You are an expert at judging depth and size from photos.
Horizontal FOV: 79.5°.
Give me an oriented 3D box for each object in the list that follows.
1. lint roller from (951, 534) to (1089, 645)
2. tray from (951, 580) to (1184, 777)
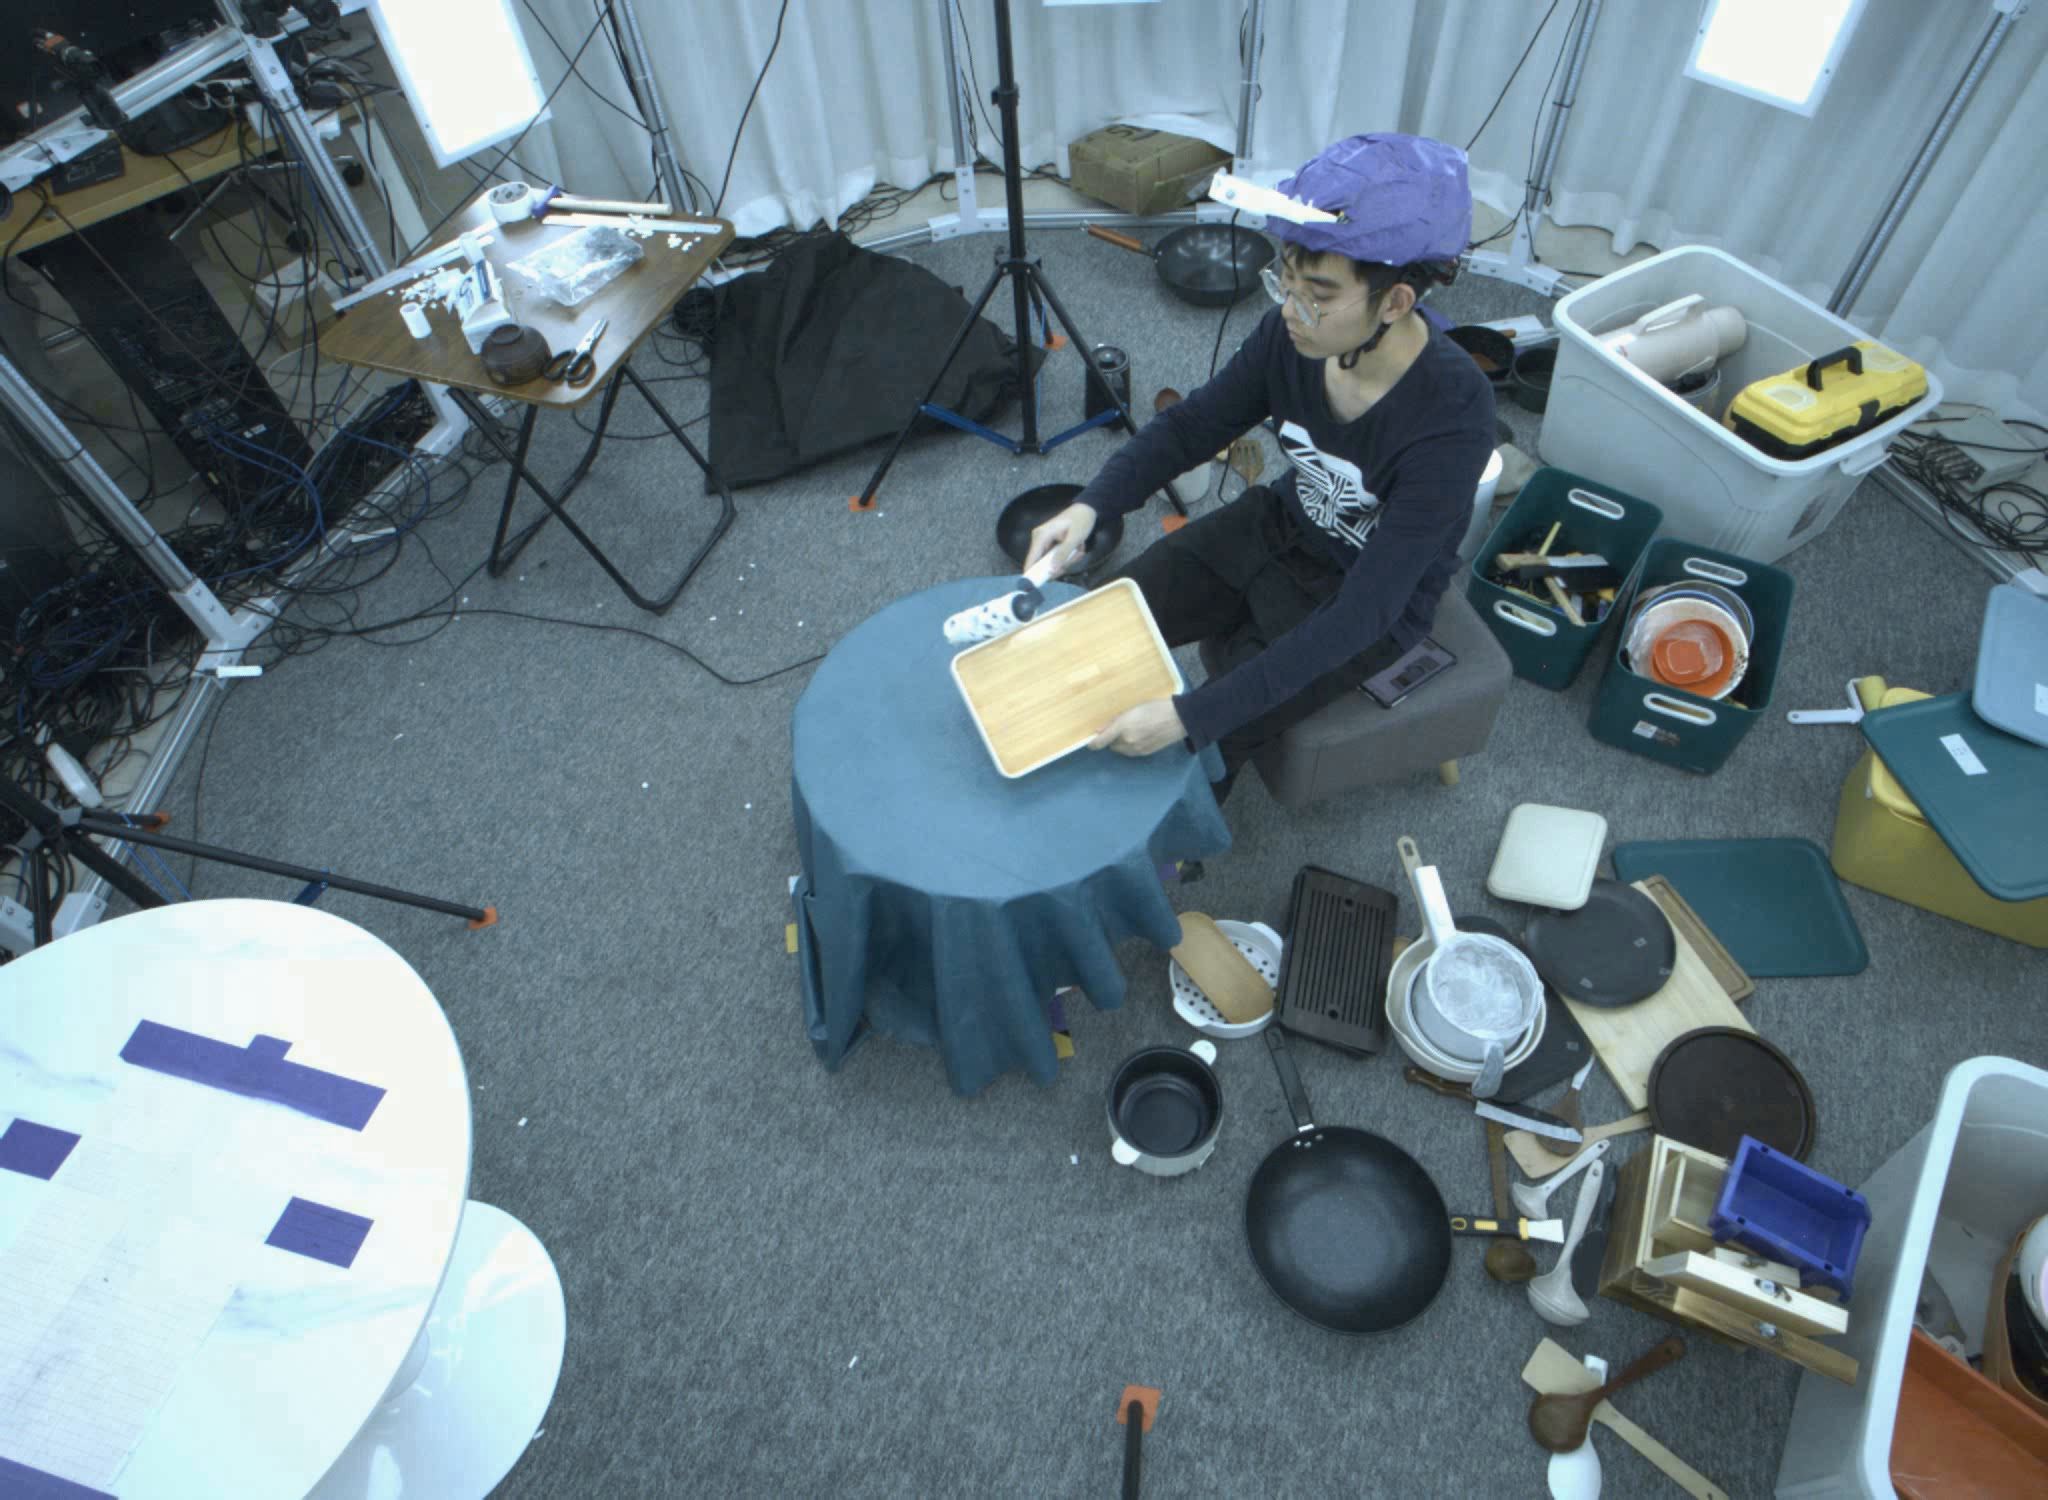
[{"bbox_3d":[0.014,-0.248,1.775,0.051,0.173,0.248,53,55,-17],"label":"lint roller"},{"bbox_3d":[0.064,-0.104,1.755,0.302,0.027,0.192,-25,93,-15],"label":"tray"}]
